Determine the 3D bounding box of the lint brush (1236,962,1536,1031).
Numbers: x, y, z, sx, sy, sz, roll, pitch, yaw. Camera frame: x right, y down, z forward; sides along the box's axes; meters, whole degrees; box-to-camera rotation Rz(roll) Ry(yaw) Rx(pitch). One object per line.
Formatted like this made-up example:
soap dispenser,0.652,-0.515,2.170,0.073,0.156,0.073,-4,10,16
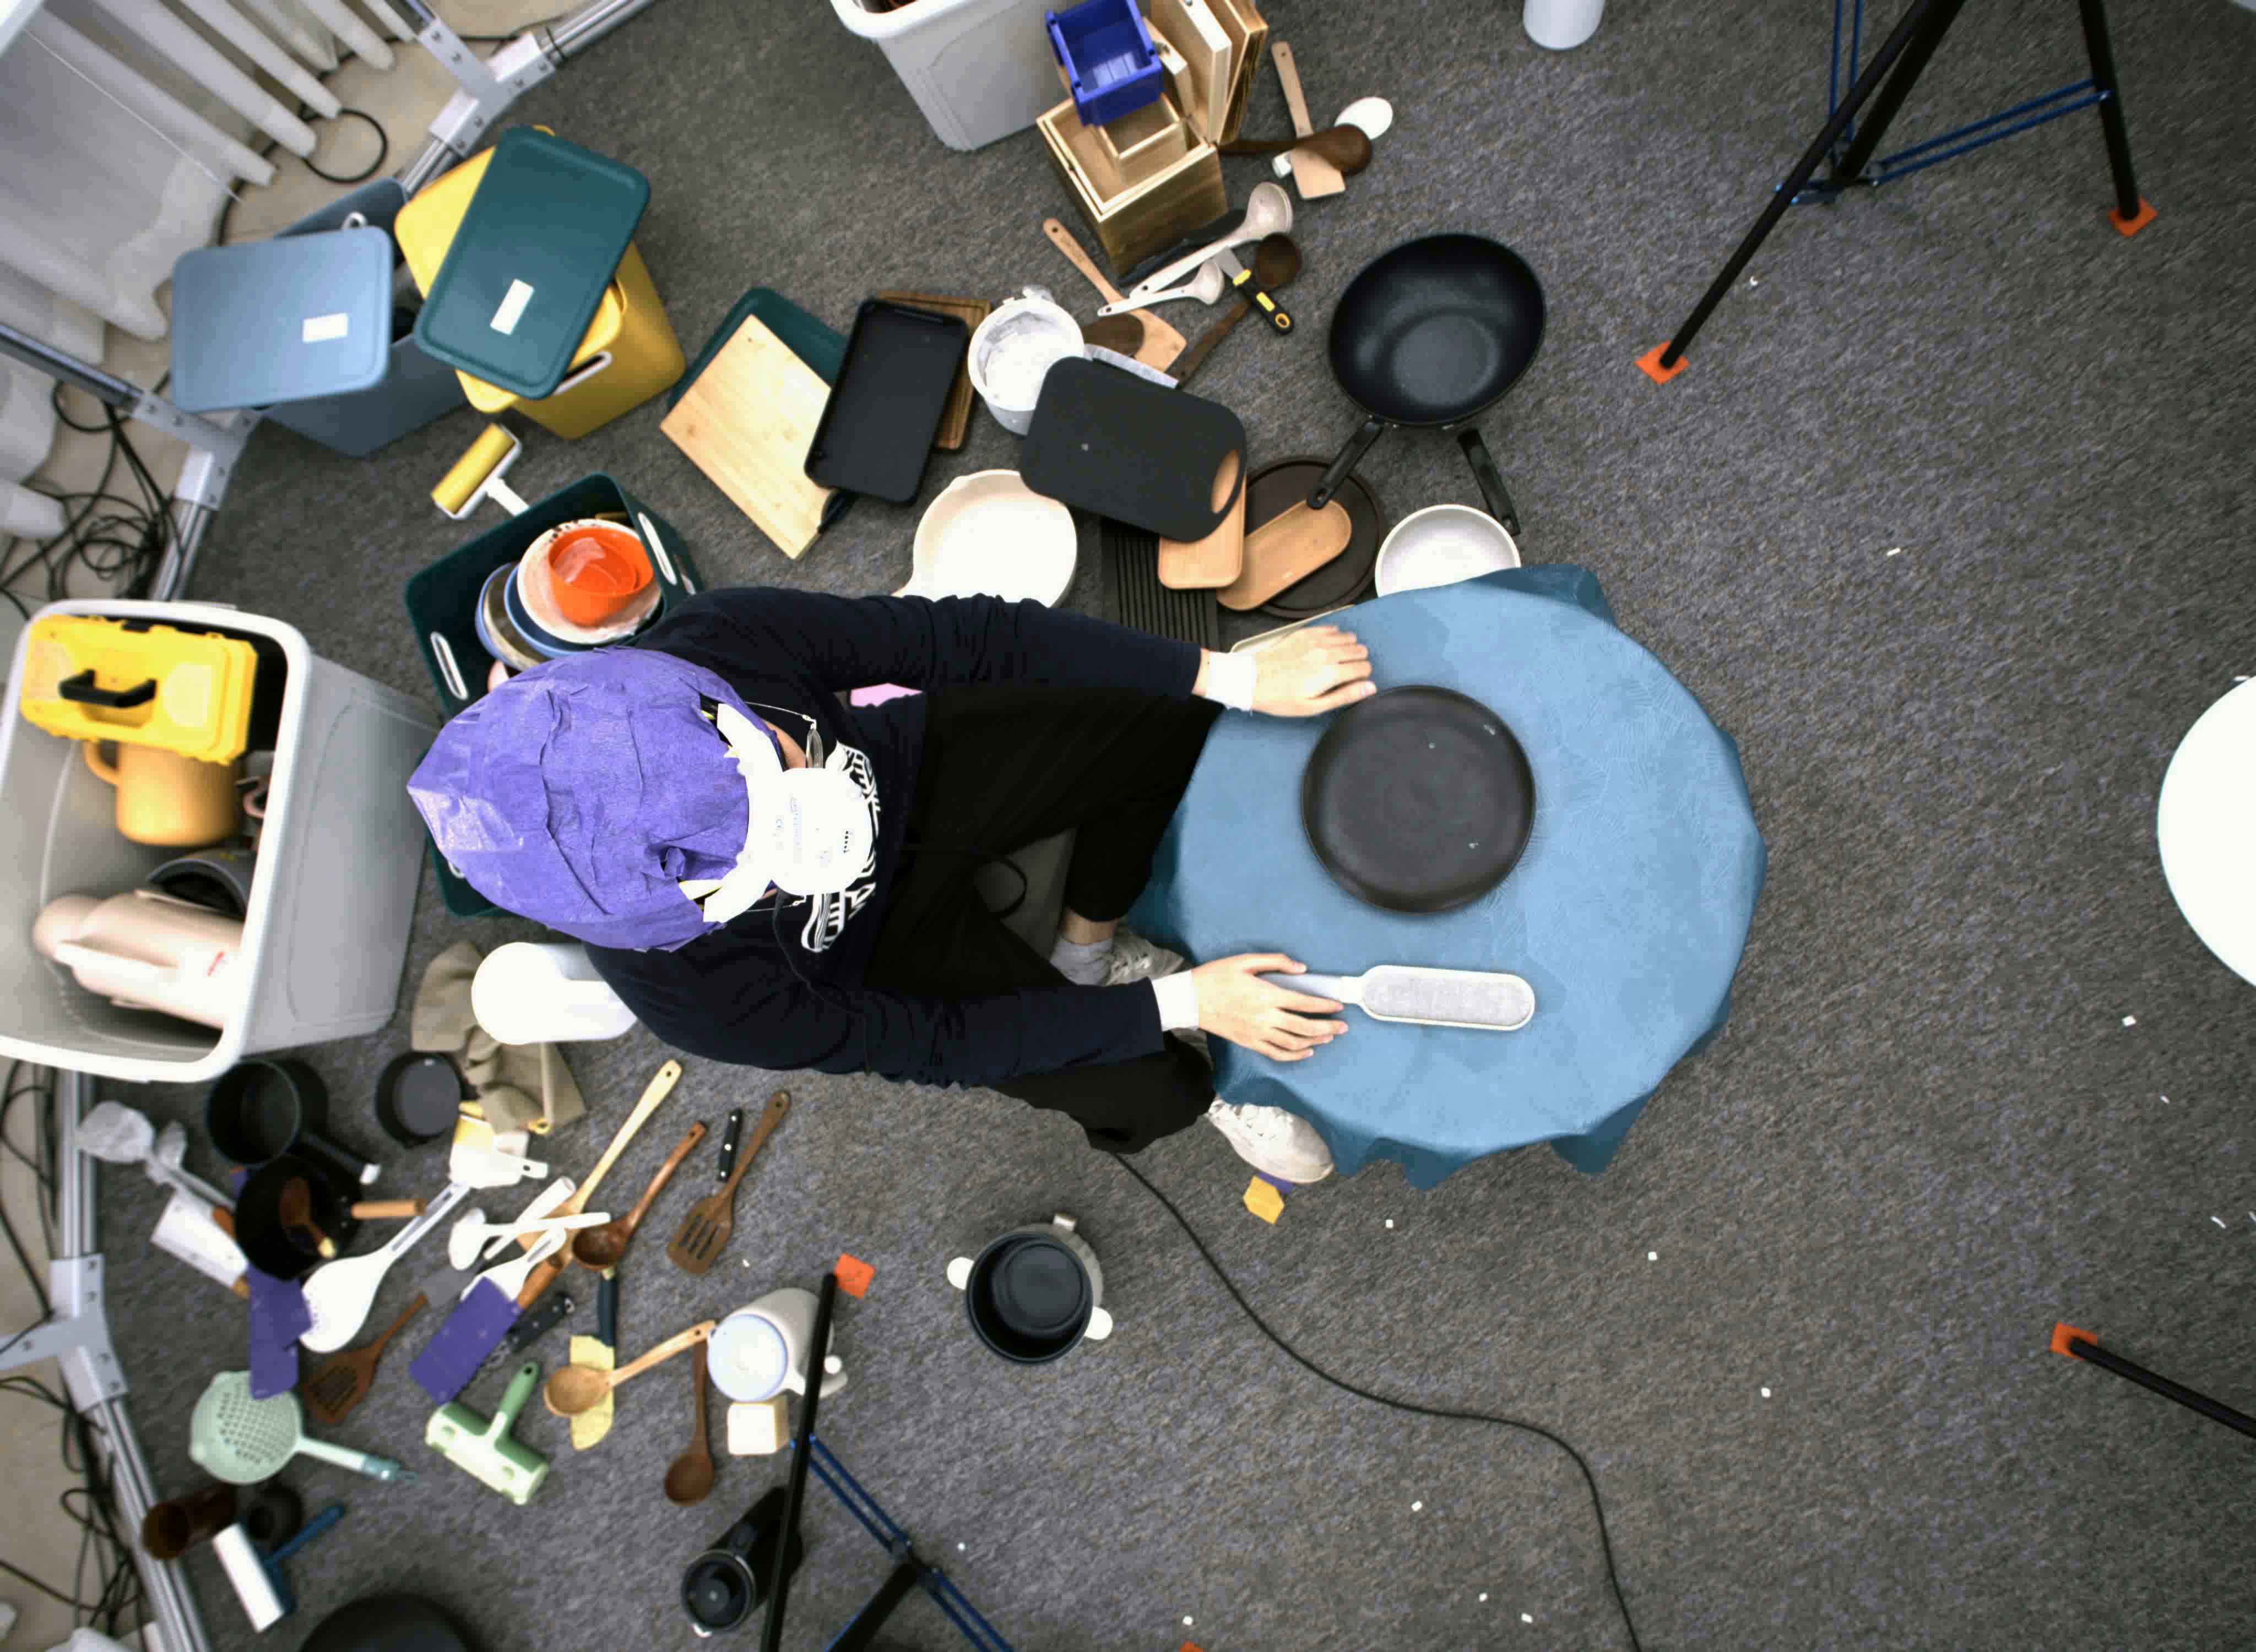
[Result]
lint brush,0.267,0.170,1.441,0.310,0.021,0.060,4,92,11

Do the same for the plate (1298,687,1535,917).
plate,0.302,-0.026,1.448,0.245,0.023,0.243,-1,86,11
